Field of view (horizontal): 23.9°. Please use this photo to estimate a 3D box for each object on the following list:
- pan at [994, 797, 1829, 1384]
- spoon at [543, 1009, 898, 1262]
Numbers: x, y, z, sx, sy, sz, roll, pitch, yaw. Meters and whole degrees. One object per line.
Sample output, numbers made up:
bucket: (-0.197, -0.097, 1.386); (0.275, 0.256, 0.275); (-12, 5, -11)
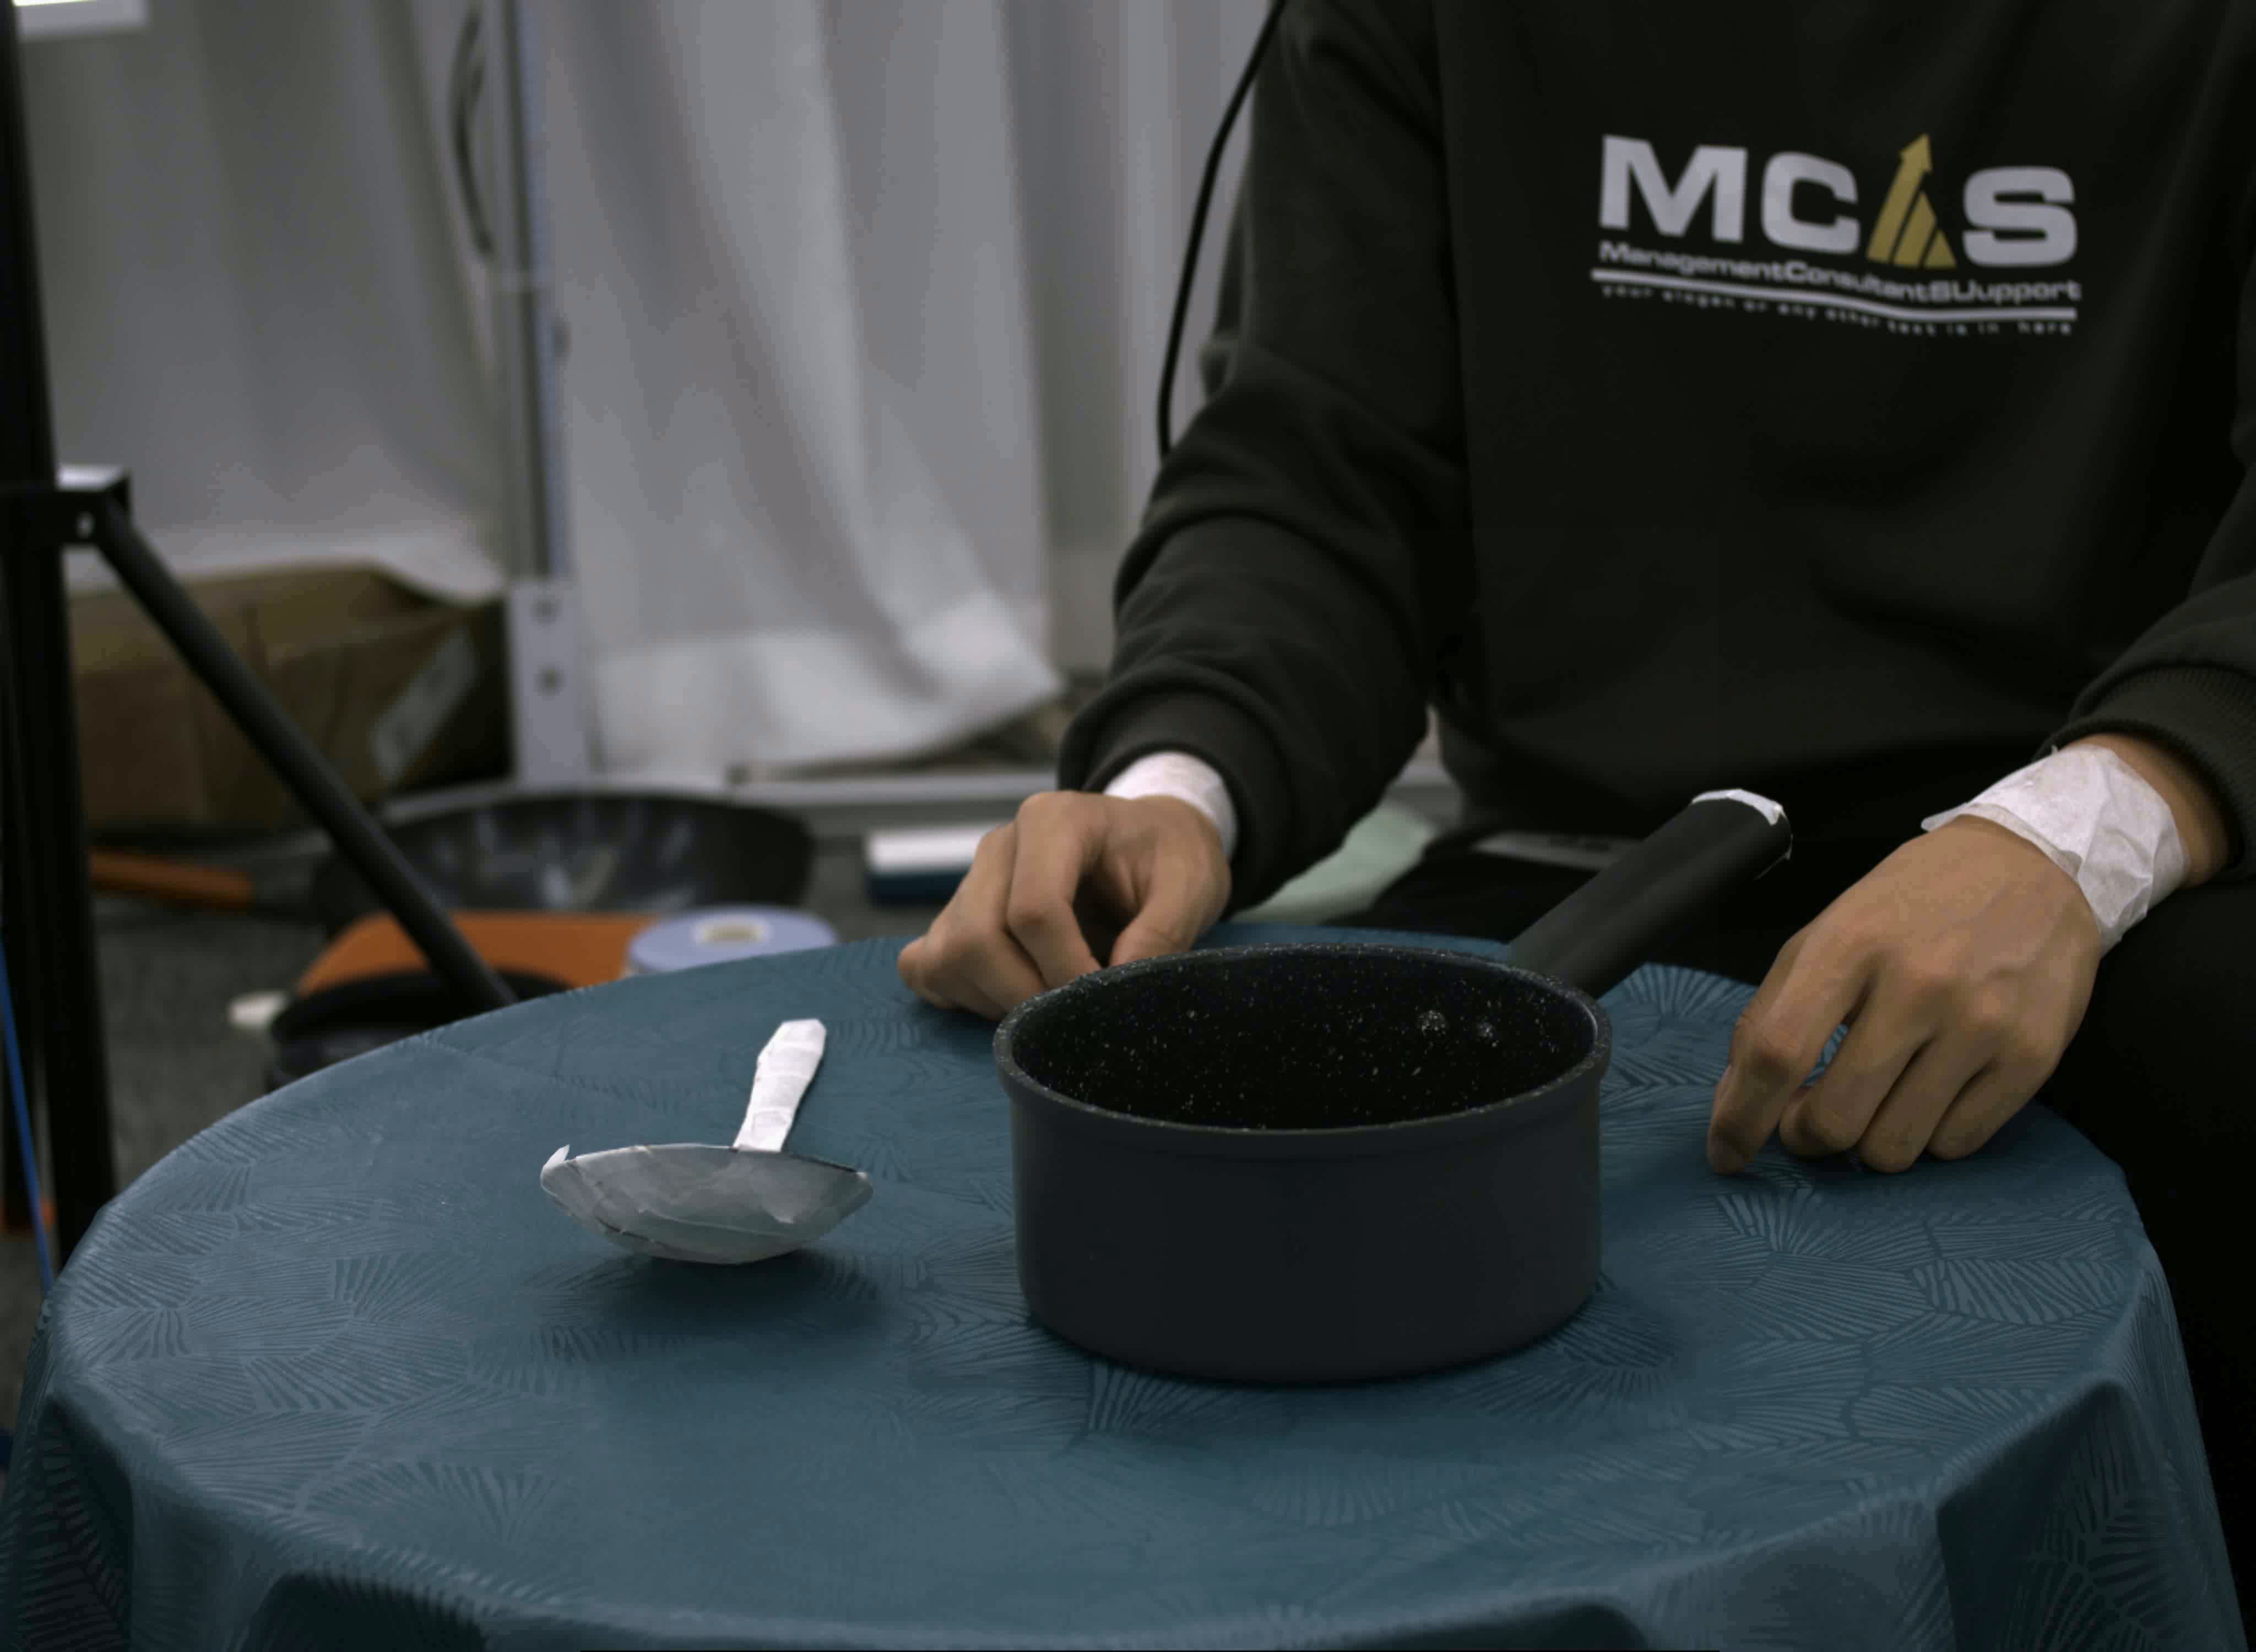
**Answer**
pan: (0.099, 0.072, 1.524); (0.176, 0.086, 0.321); (12, 22, 39)
spoon: (-0.104, 0.075, 1.591); (0.101, 0.059, 0.277); (2, 16, 6)
